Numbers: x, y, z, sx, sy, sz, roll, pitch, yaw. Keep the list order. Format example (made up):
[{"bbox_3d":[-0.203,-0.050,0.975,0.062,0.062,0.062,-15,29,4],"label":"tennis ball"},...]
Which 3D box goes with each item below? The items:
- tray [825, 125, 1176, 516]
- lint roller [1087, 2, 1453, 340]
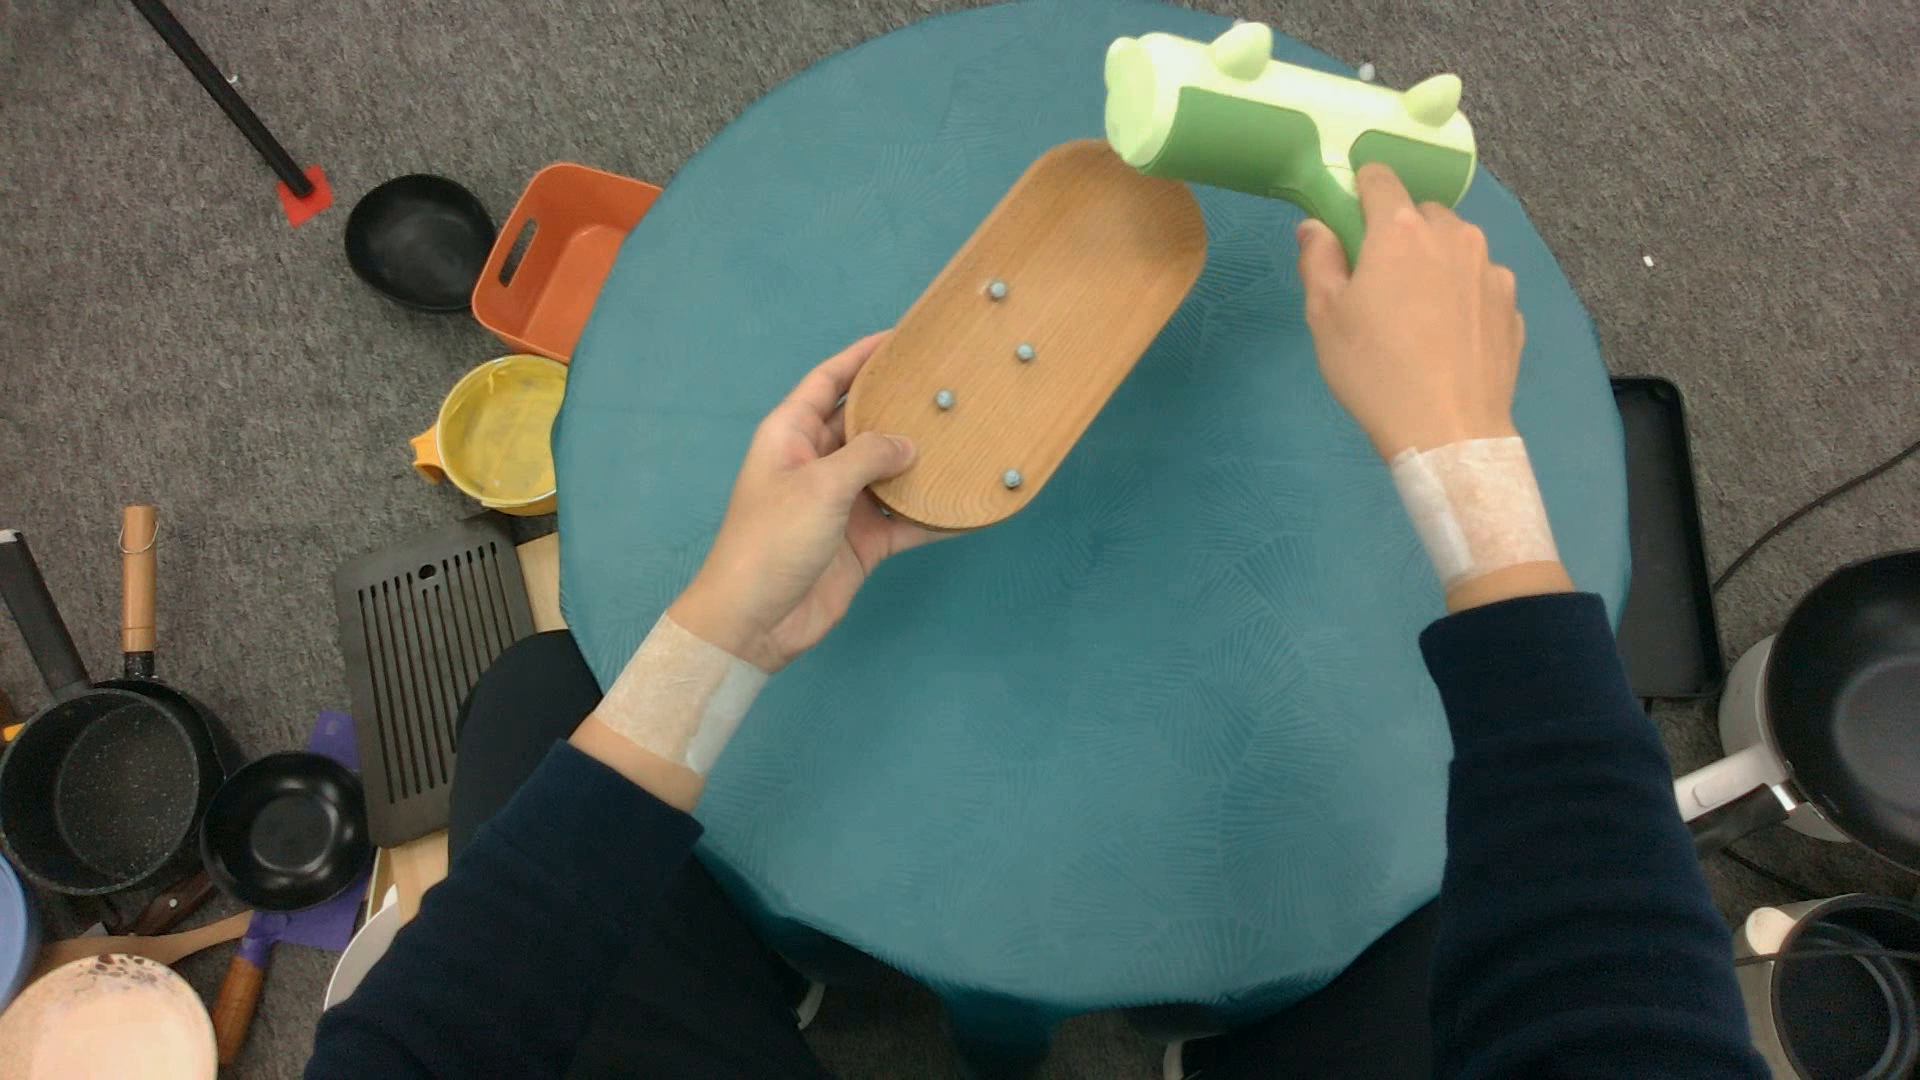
[{"bbox_3d":[0.022,-0.108,0.657,0.101,0.020,0.232,34,67,1],"label":"tray"},{"bbox_3d":[0.173,-0.169,0.614,0.199,0.082,0.184,1,40,-33],"label":"lint roller"}]
